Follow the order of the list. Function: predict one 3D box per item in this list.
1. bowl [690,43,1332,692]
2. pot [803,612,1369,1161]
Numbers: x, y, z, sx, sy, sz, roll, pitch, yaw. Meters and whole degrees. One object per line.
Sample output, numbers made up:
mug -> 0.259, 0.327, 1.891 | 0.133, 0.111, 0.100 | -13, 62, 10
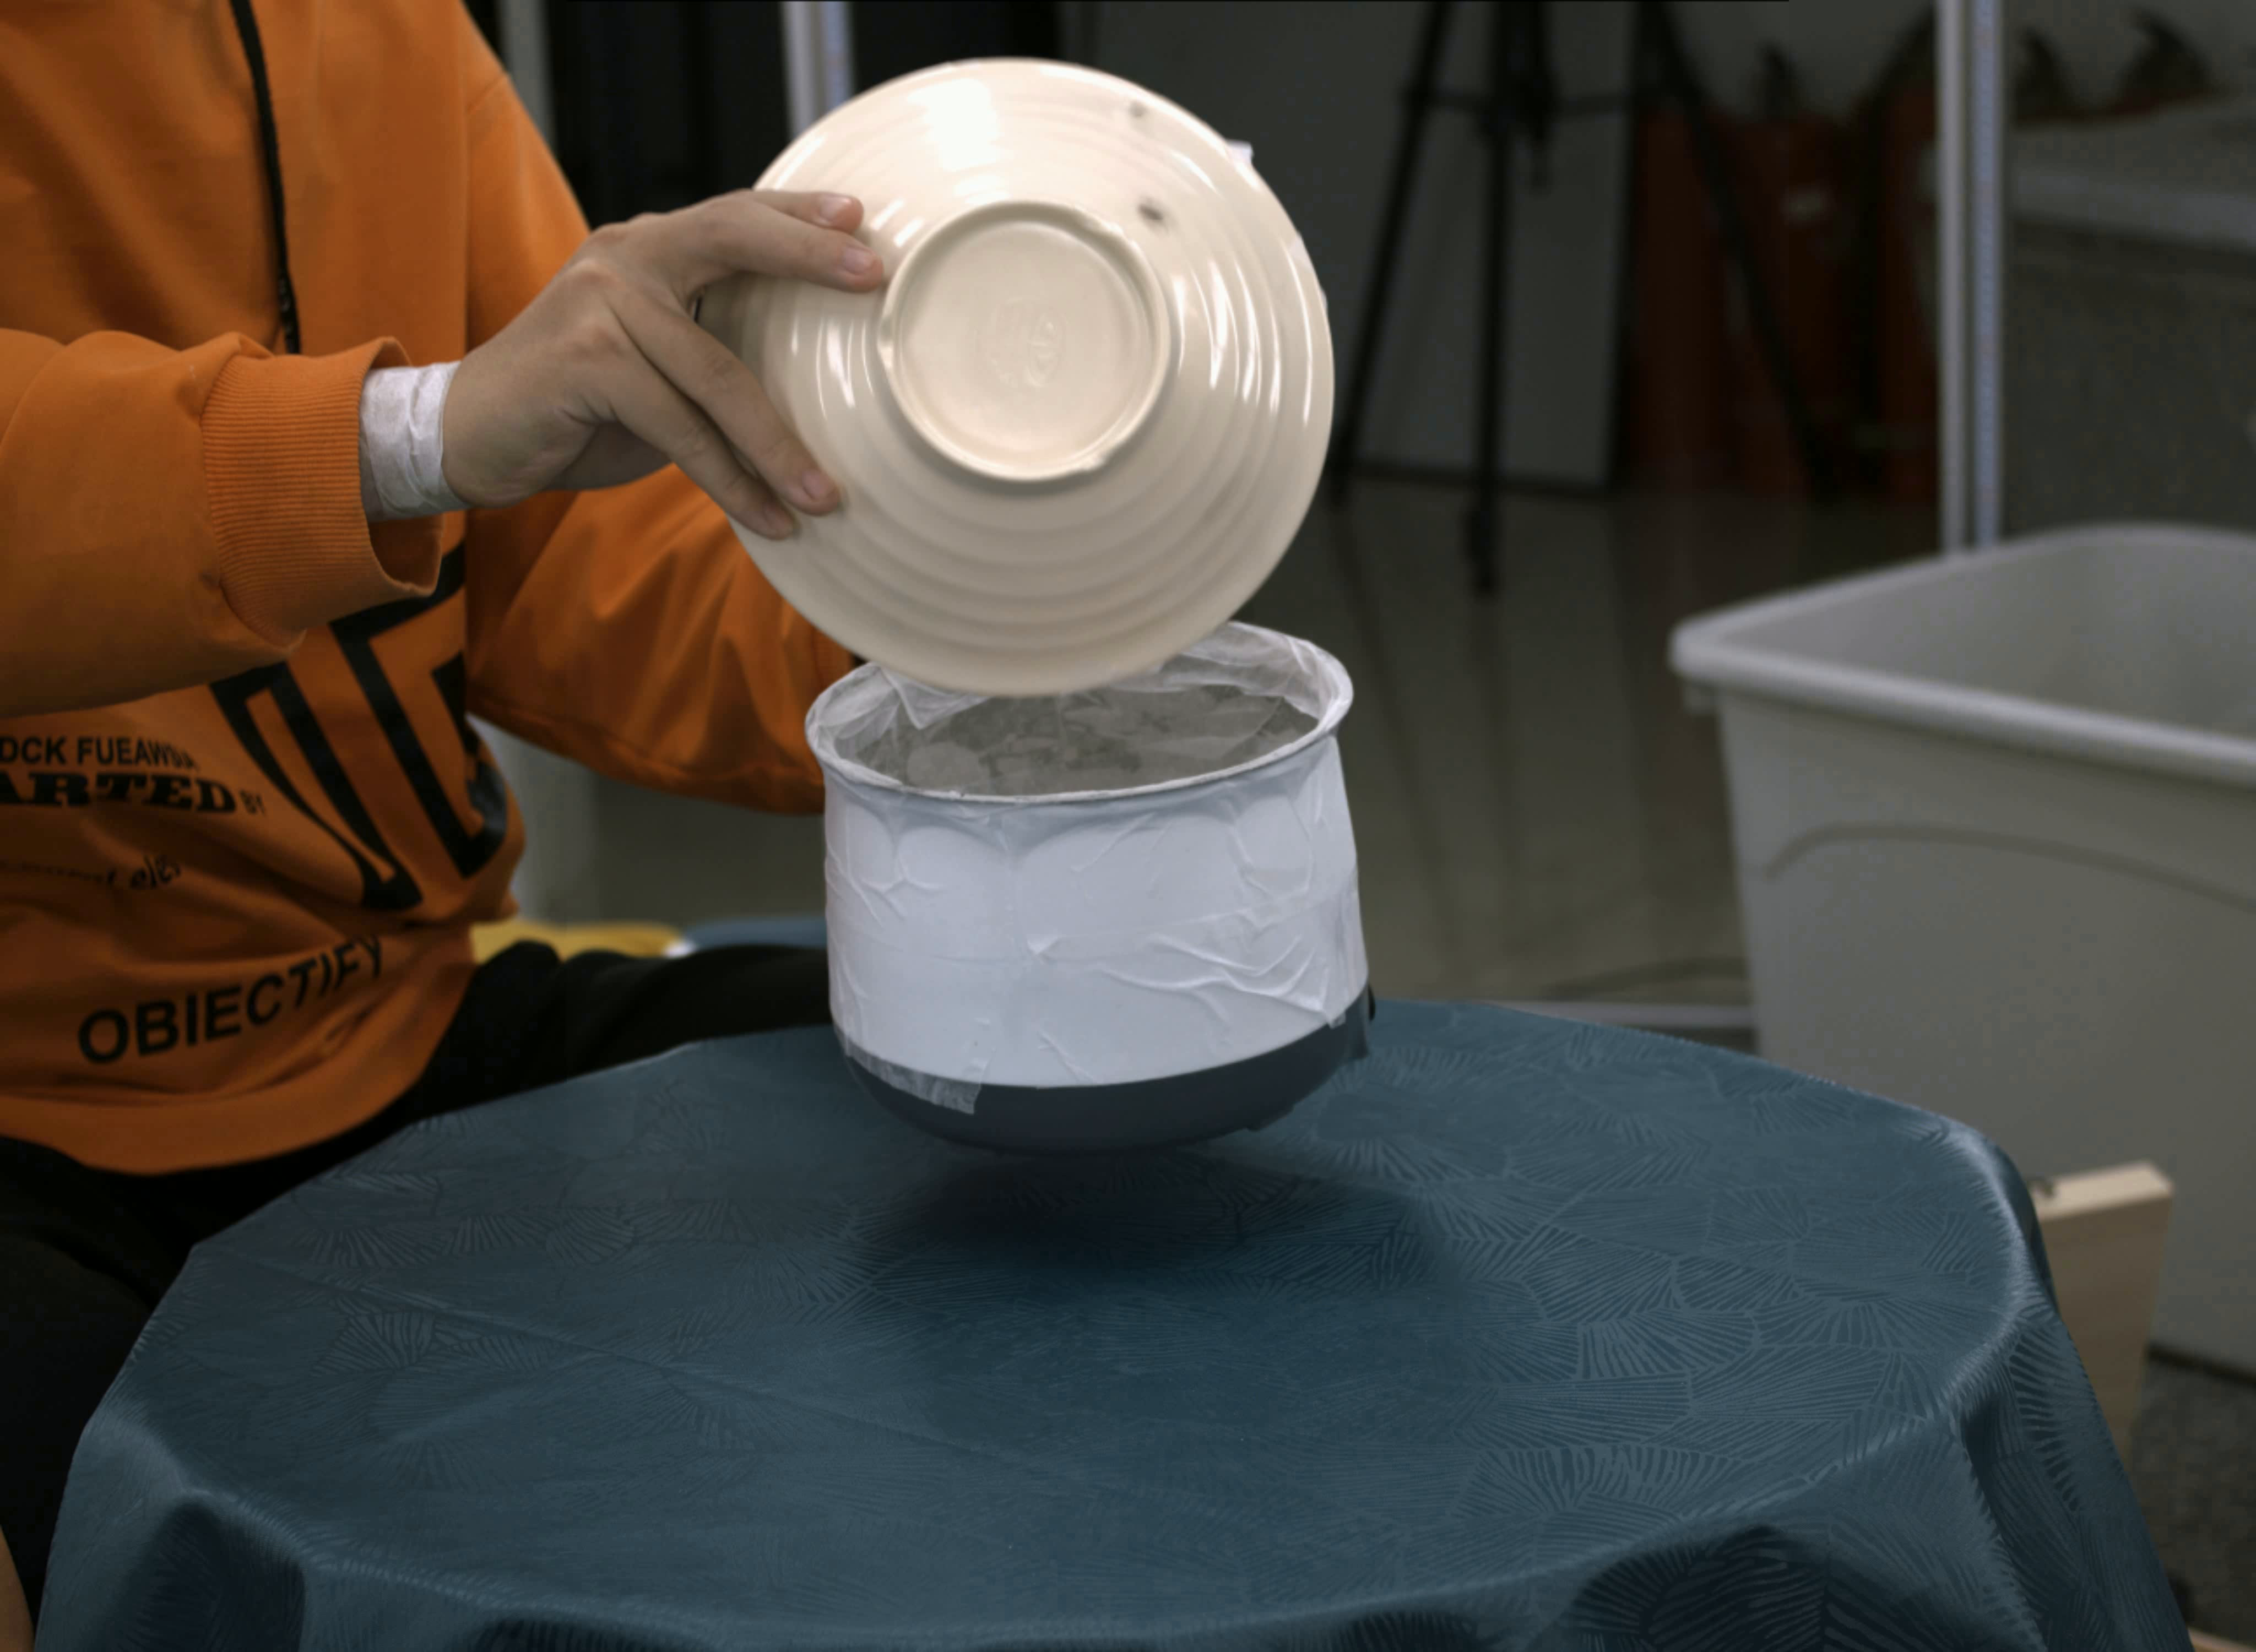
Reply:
bowl -> -0.032, -0.148, 1.650 | 0.201, 0.207, 0.078 | -5, -7, -5
pot -> -0.016, 0.010, 1.760 | 0.176, 0.138, 0.235 | -6, 20, -6
